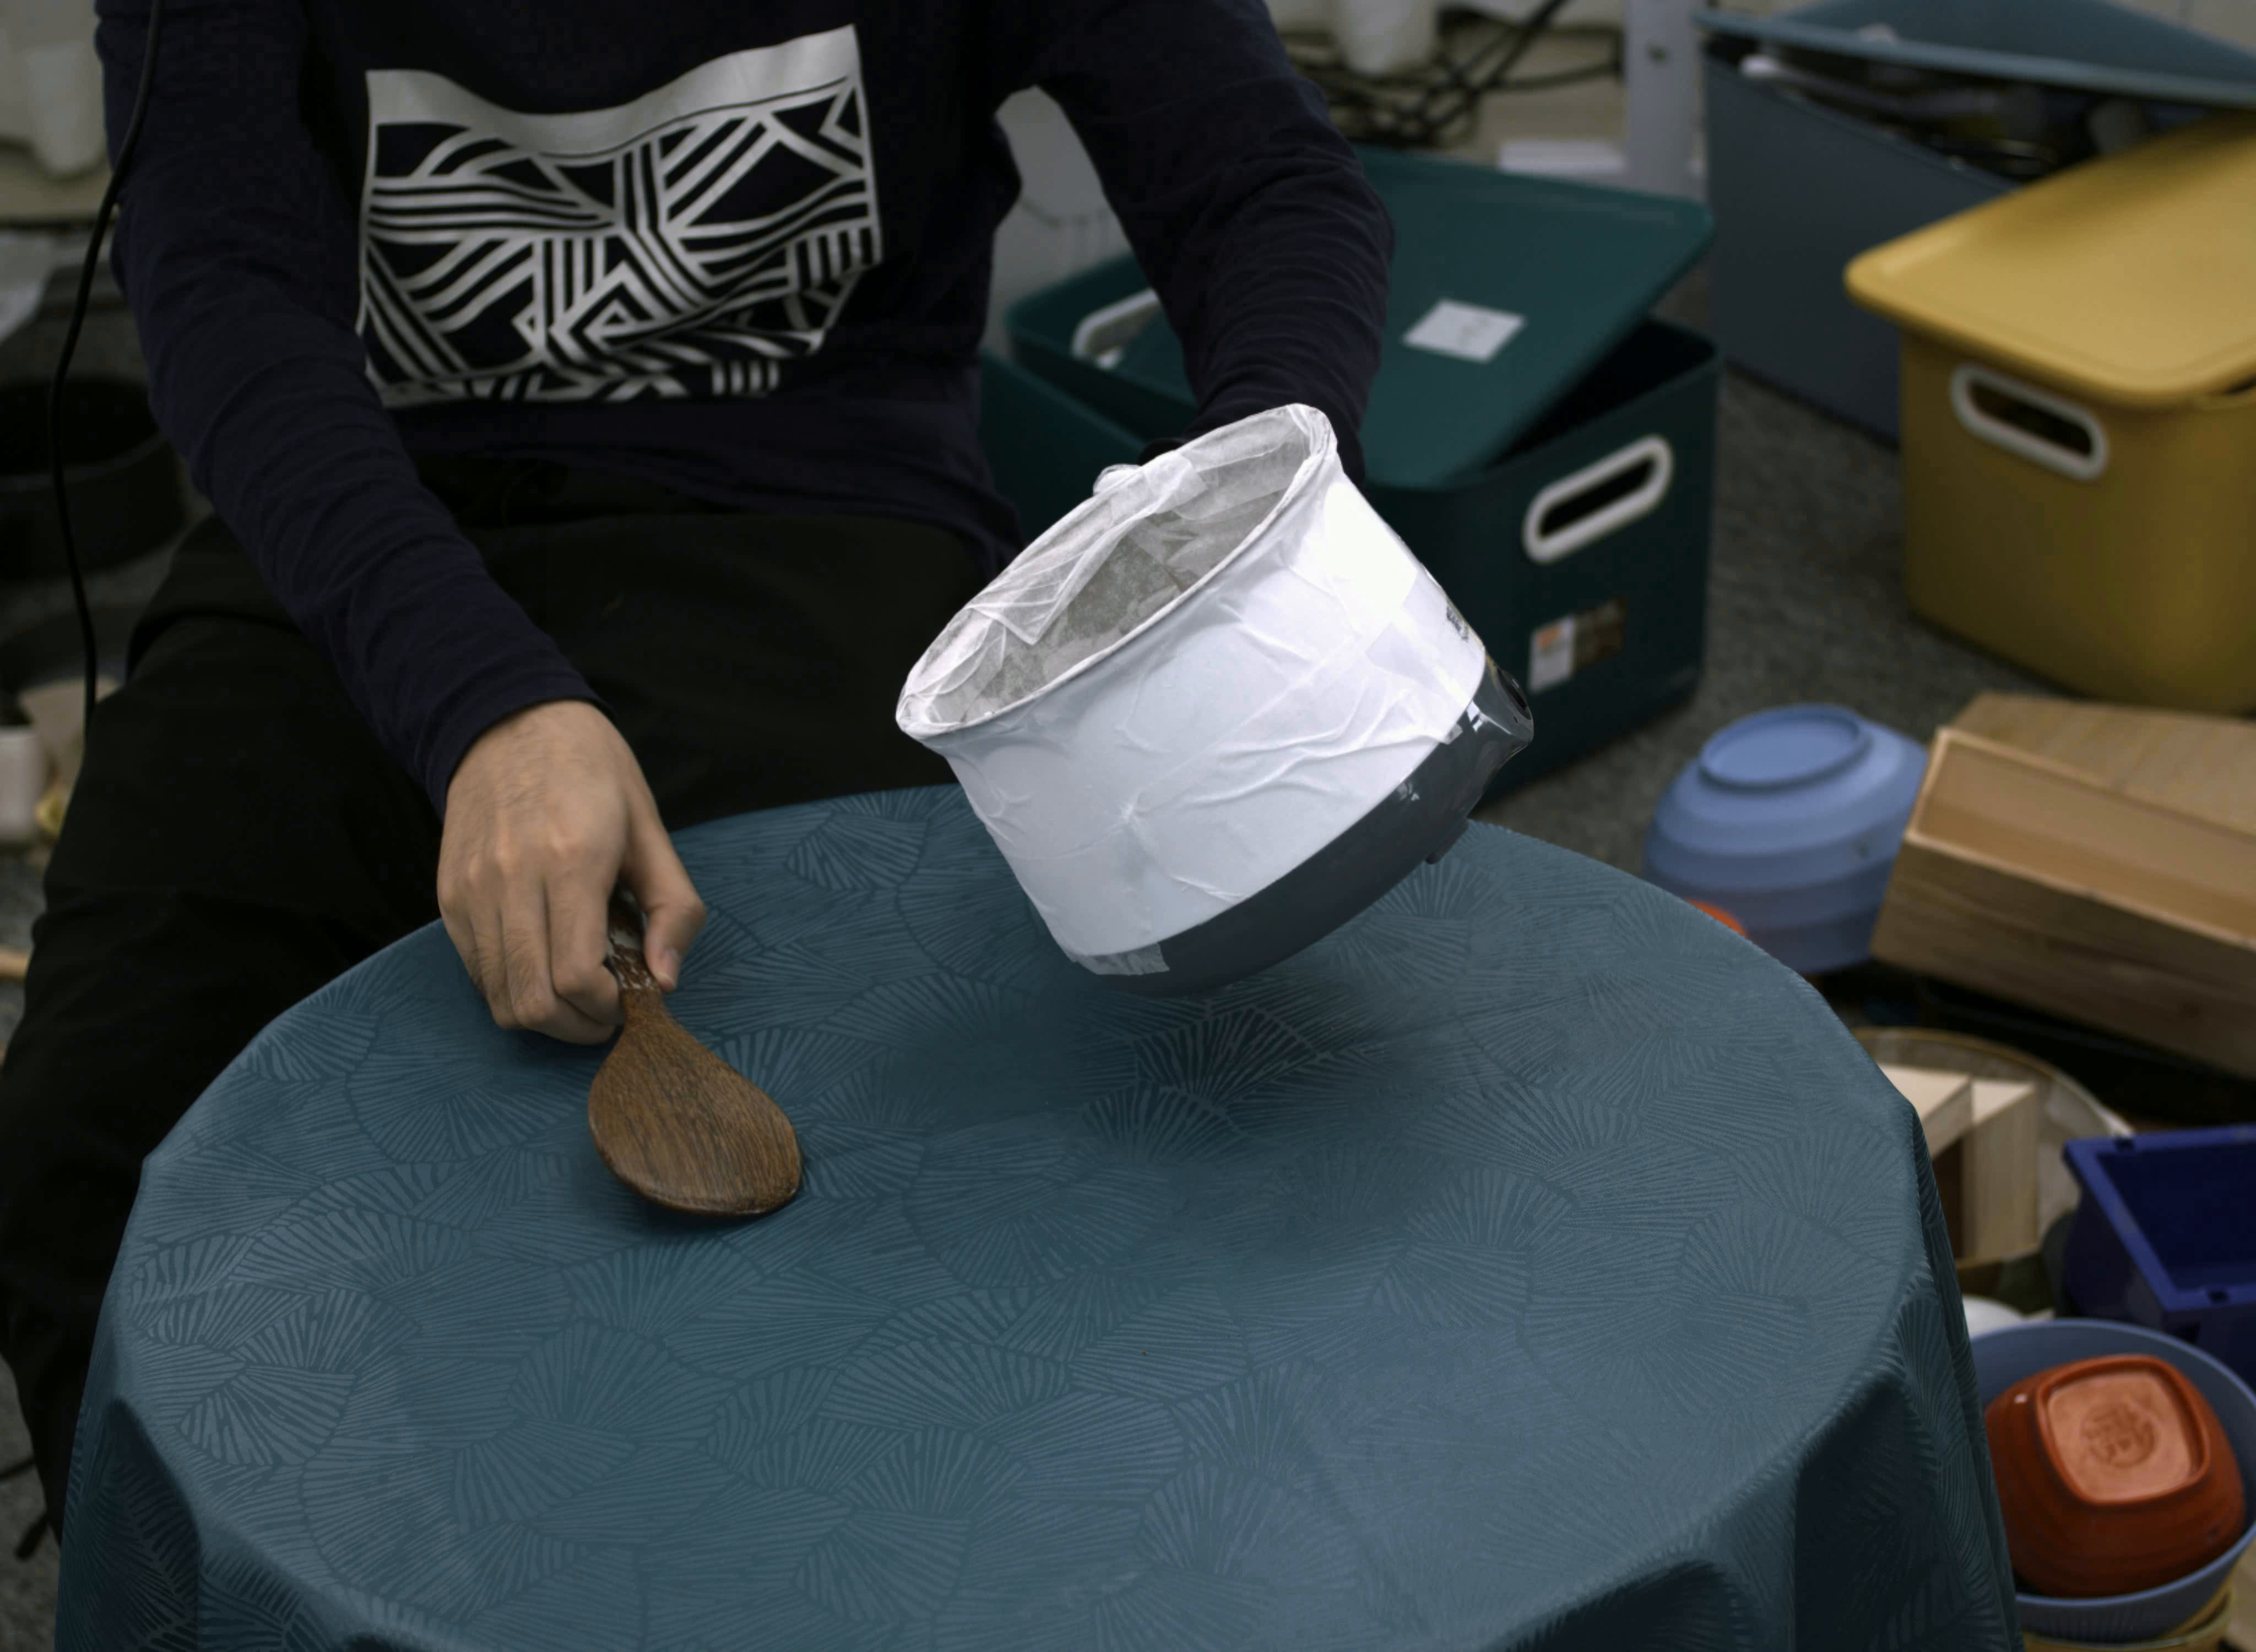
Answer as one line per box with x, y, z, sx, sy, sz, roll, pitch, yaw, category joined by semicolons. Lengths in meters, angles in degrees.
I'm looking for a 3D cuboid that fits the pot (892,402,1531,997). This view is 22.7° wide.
0.028;-0.049;1.925;0.177;0.136;0.236;-31;18;8;pot

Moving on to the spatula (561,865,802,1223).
-0.164;0.072;1.933;0.072;0.009;0.218;6;29;-22;spatula
